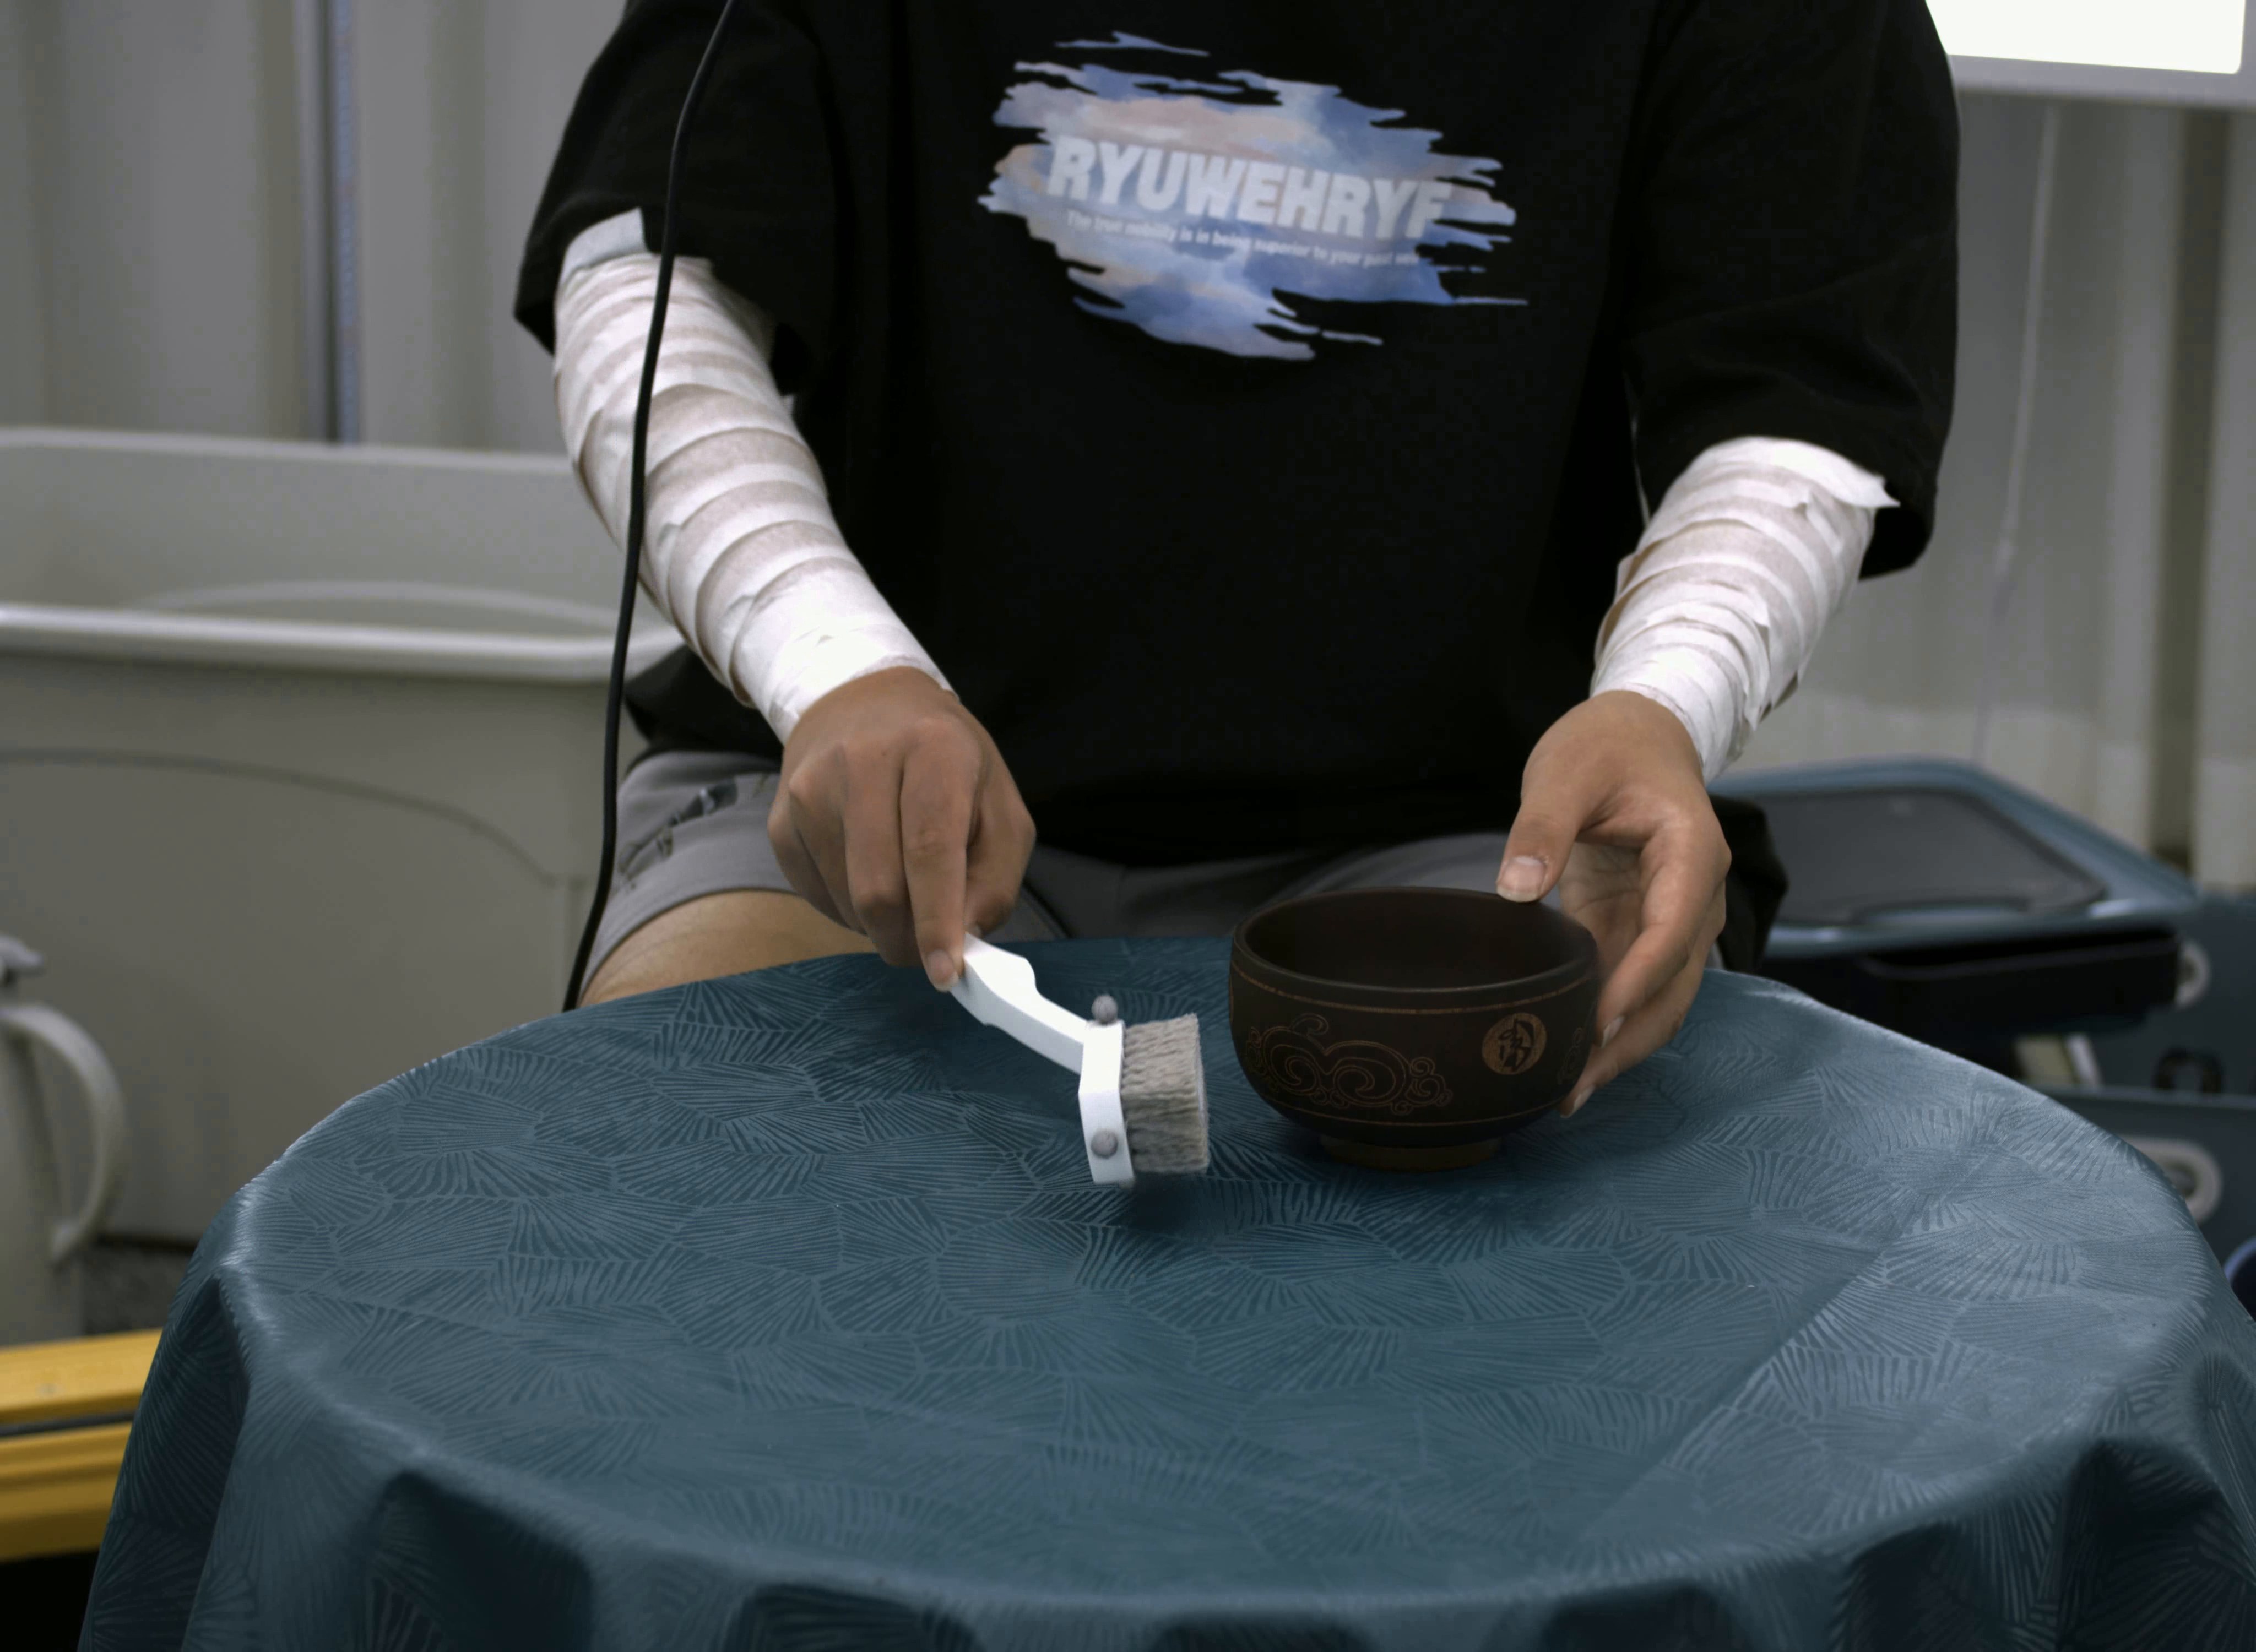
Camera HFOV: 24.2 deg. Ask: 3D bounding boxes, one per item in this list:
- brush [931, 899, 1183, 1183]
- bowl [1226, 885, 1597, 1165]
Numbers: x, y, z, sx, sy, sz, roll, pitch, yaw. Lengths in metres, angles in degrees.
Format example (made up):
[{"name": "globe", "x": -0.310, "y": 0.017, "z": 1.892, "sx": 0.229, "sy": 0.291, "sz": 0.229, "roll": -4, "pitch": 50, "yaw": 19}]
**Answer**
[{"name": "brush", "x": -0.021, "y": 0.061, "z": 1.678, "sx": 0.050, "sy": 0.035, "sz": 0.241, "roll": -11, "pitch": 17, "yaw": -10}, {"name": "bowl", "x": 0.089, "y": 0.066, "z": 1.660, "sx": 0.117, "sy": 0.070, "sz": 0.117, "roll": -1, "pitch": 14, "yaw": 1}]
